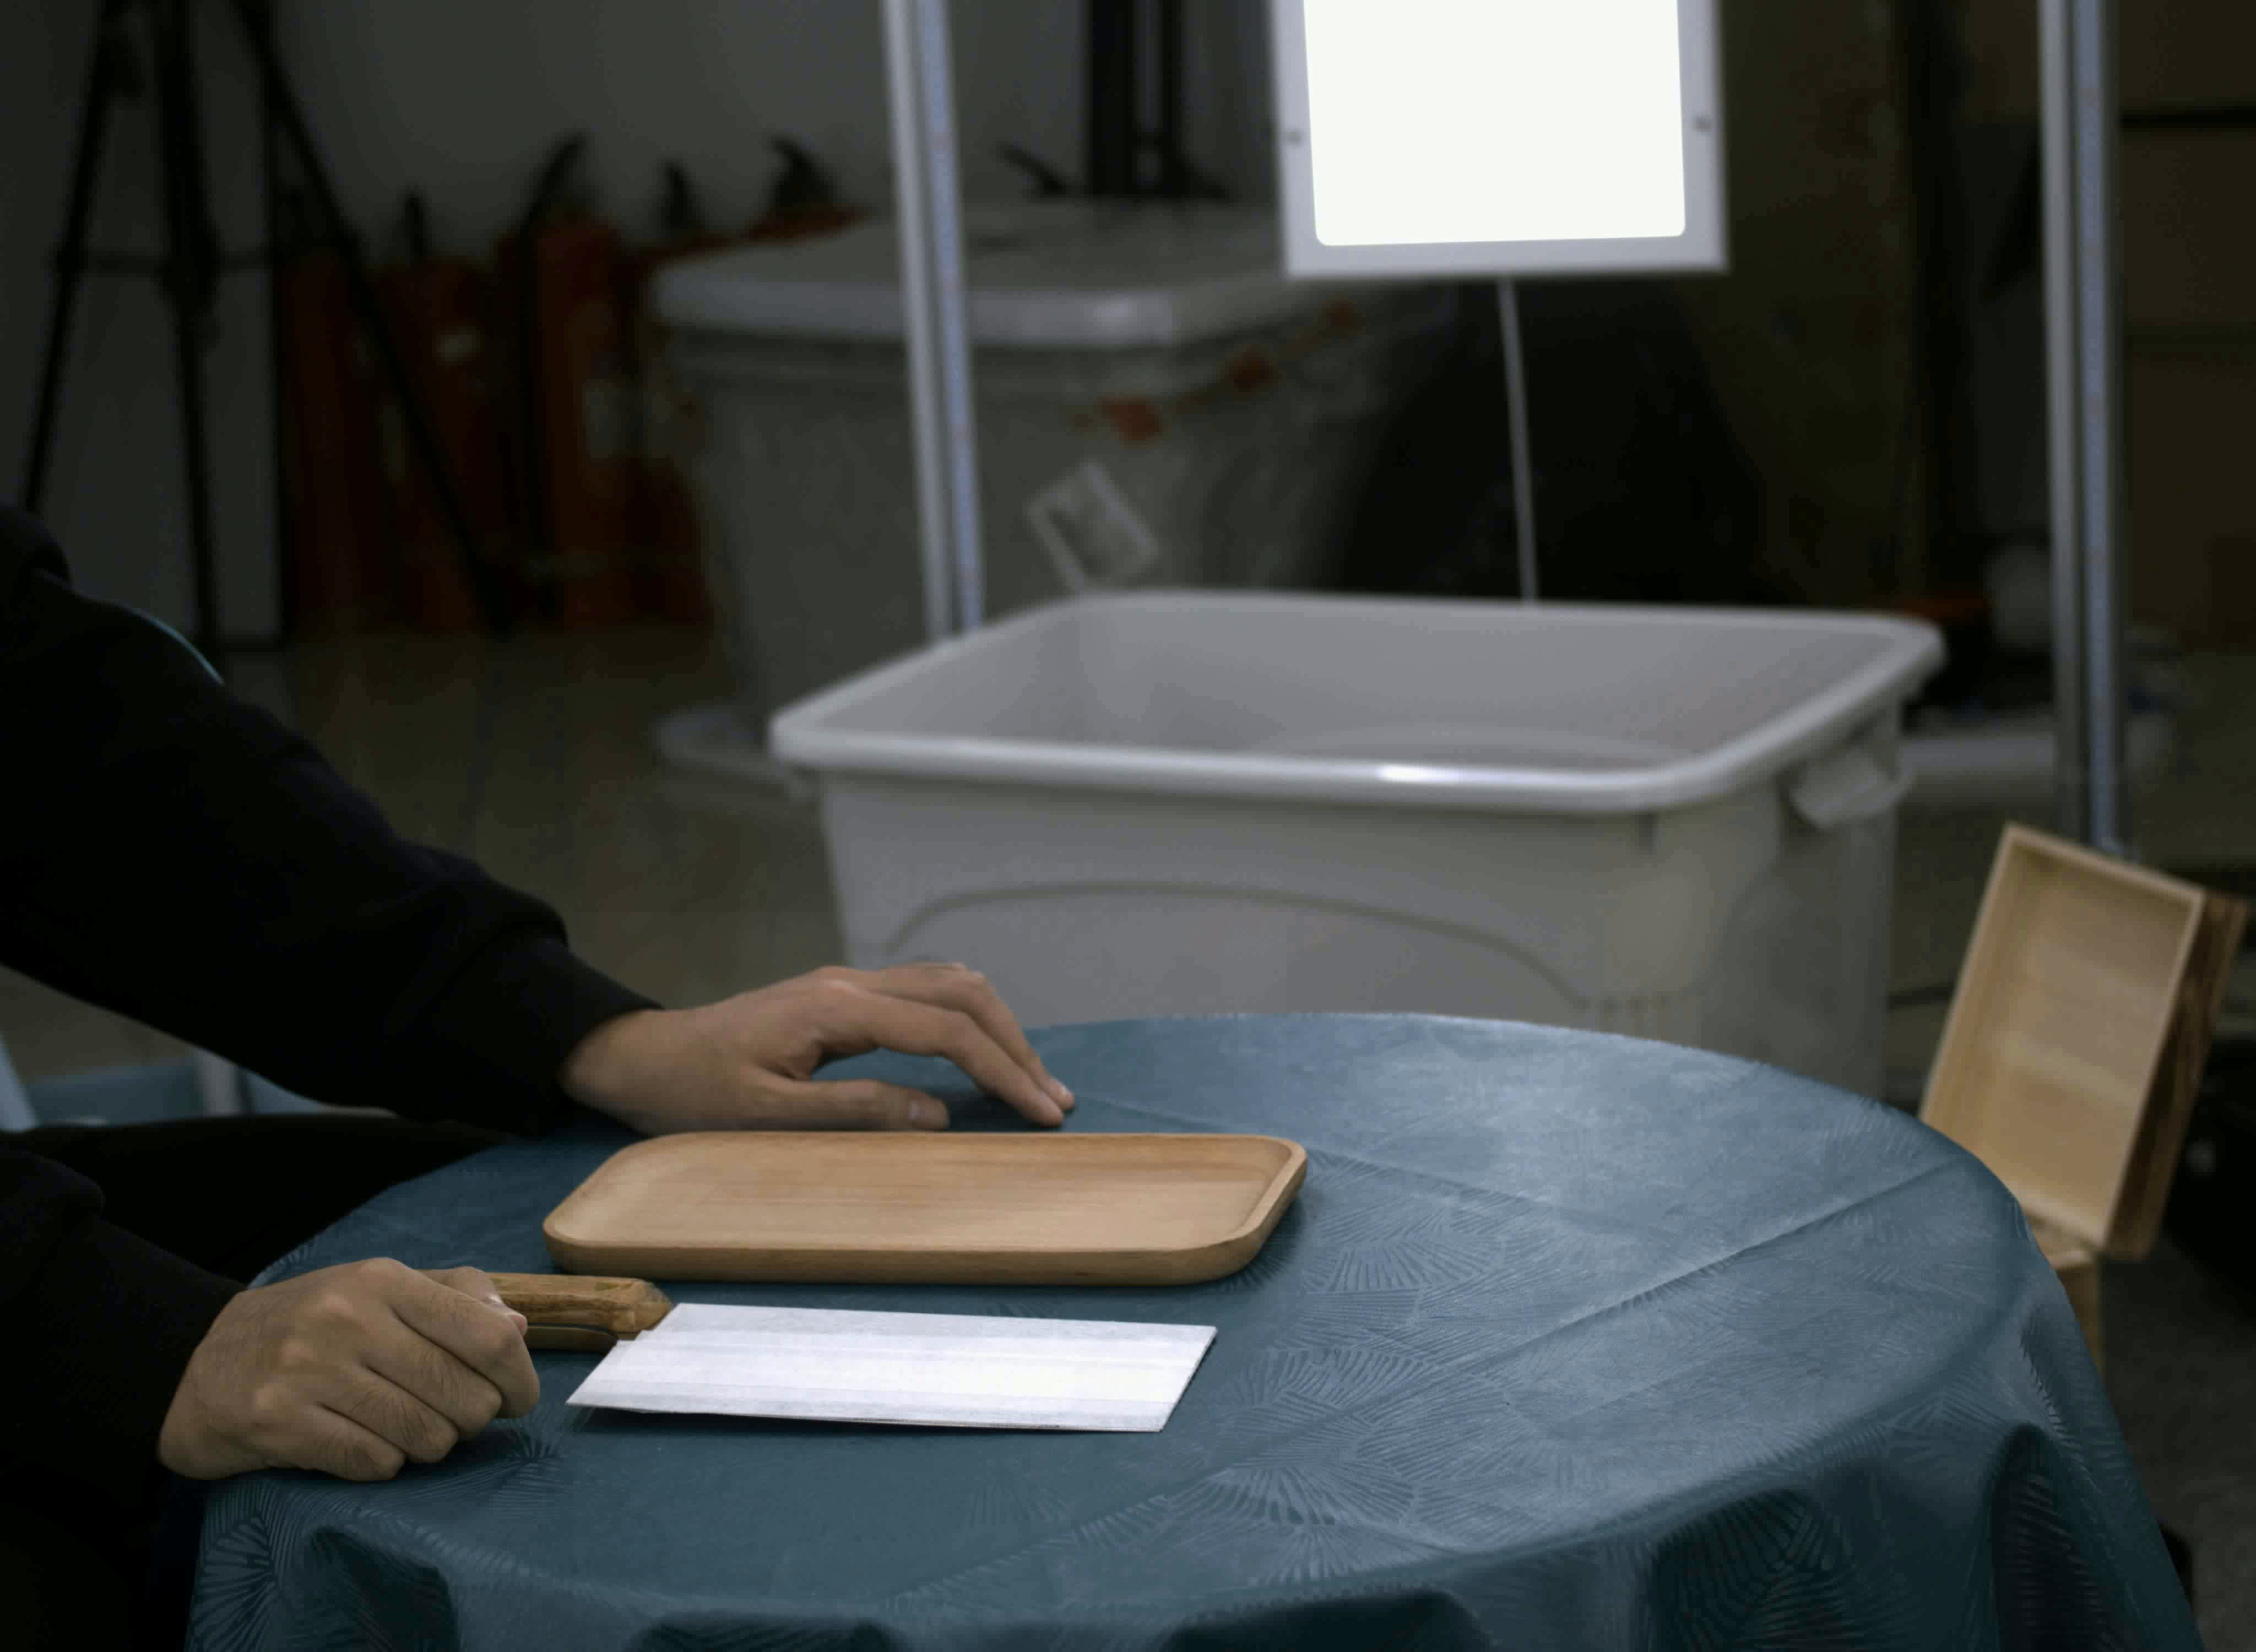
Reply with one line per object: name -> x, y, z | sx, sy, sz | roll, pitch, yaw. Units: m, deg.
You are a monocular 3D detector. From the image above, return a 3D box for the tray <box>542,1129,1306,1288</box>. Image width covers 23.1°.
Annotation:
tray -> -0.069, 0.130, 1.876 | 0.254, 0.023, 0.128 | -2, 12, 19

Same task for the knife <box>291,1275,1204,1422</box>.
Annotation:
knife -> -0.128, 0.168, 1.745 | 0.308, 0.021, 0.091 | 1, 16, 15
